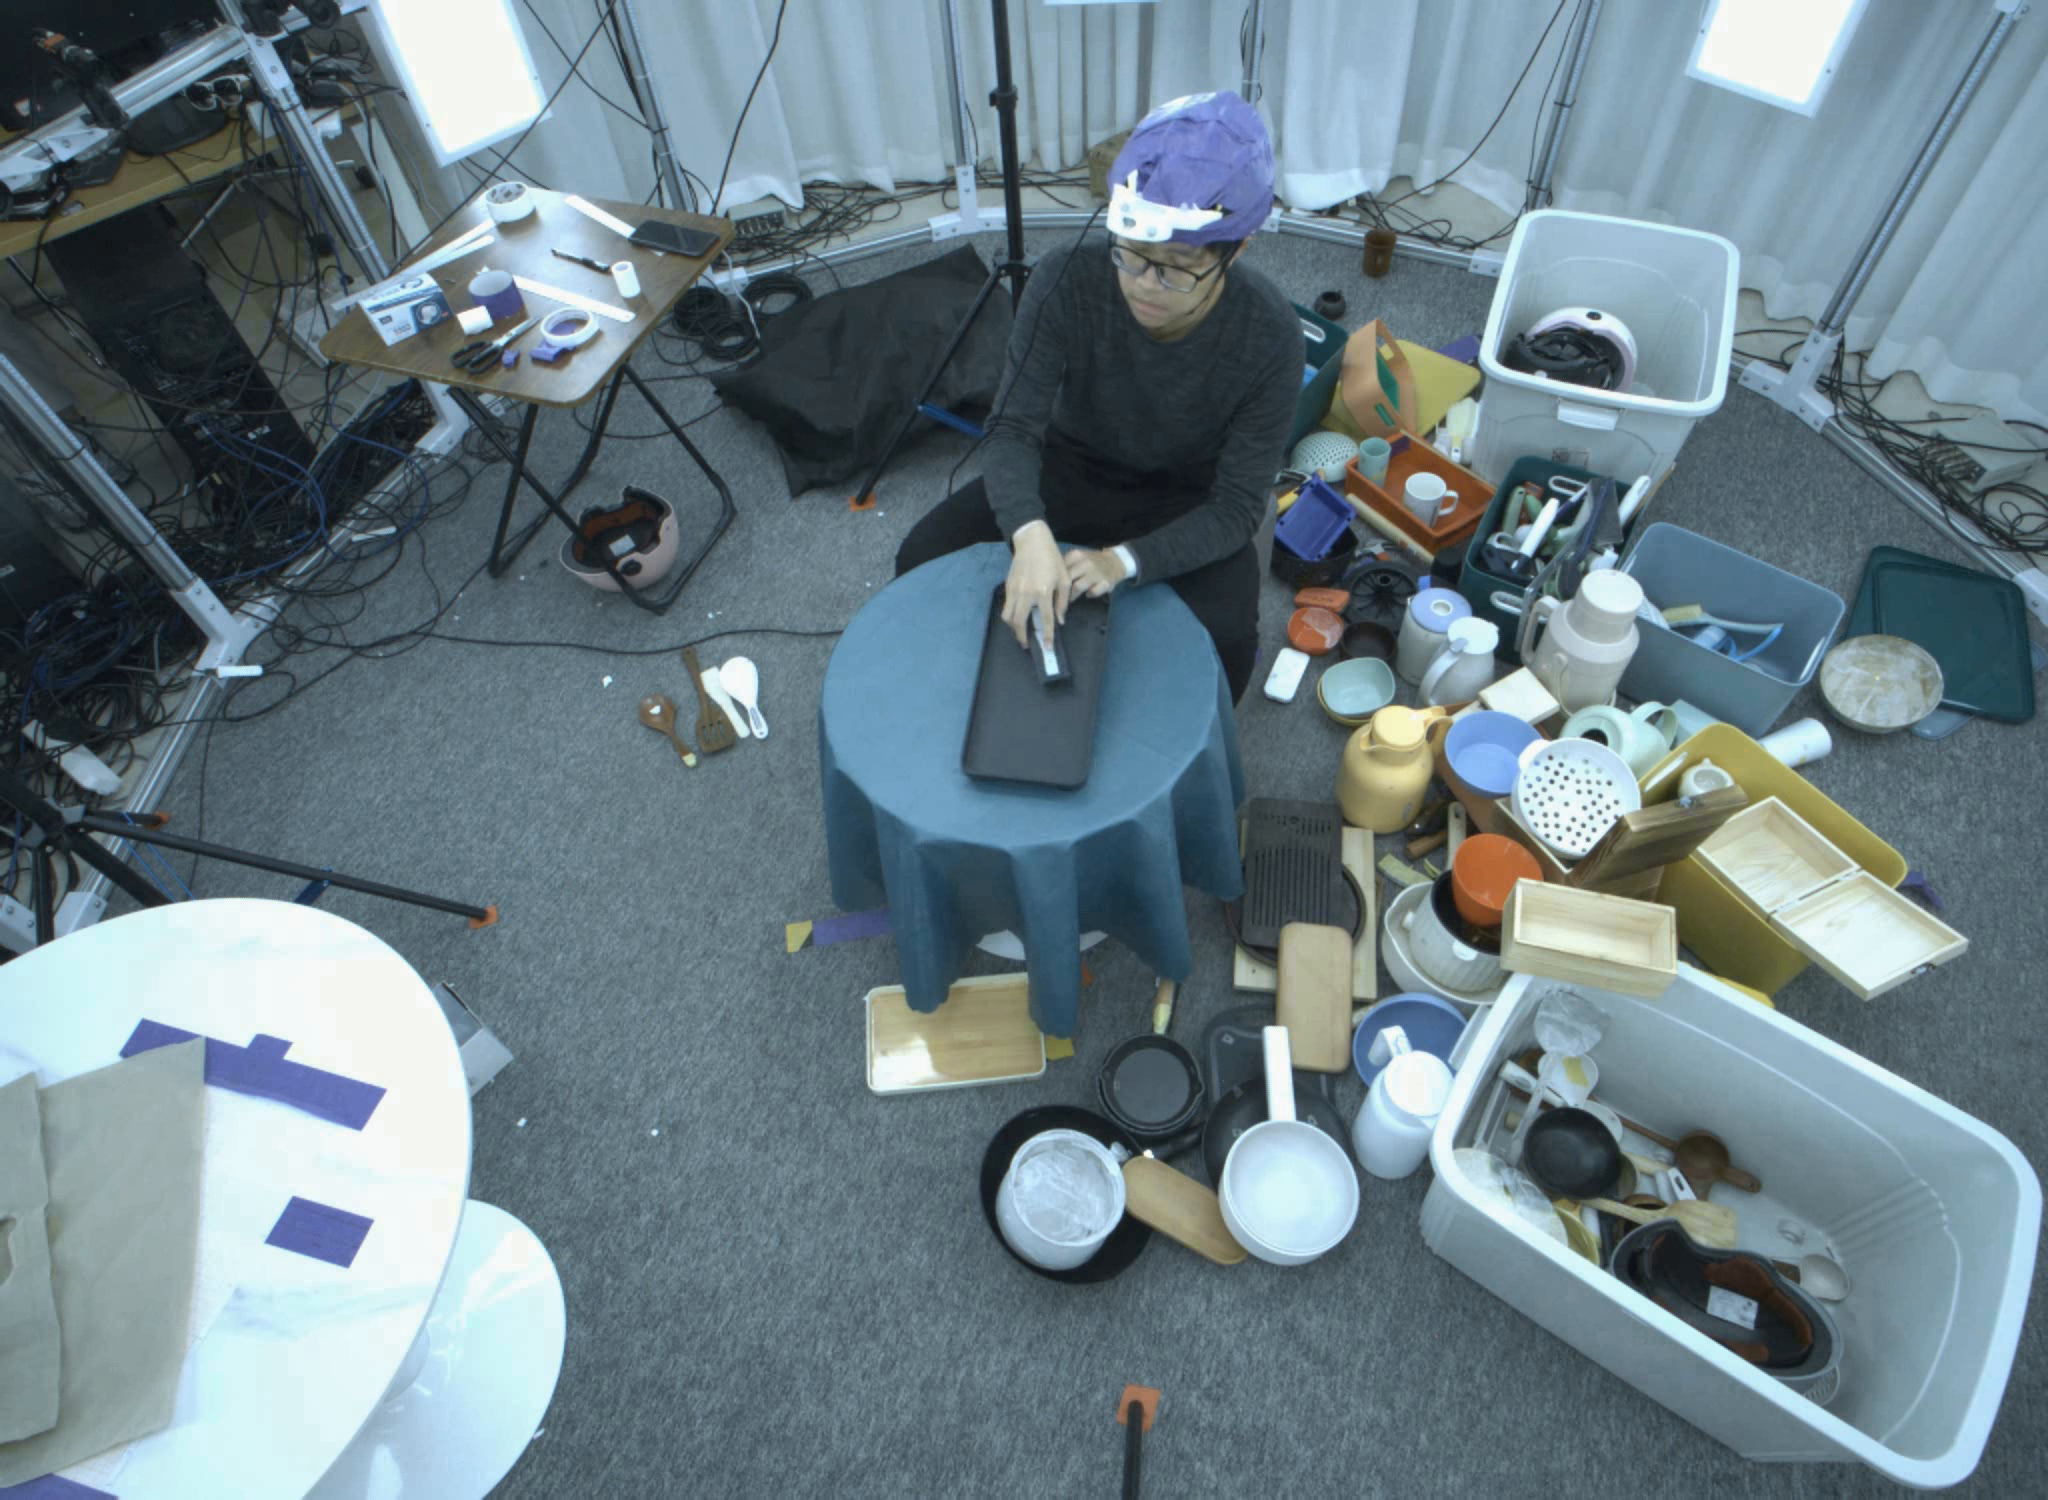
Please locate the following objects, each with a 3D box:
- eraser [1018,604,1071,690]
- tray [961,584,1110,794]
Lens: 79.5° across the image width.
[{"bbox_3d":[0.030,-0.152,1.807,0.053,0.031,0.124,-13,71,0],"label":"eraser"},{"bbox_3d":[0.021,-0.093,1.790,0.183,0.037,0.316,5,68,6],"label":"tray"}]
